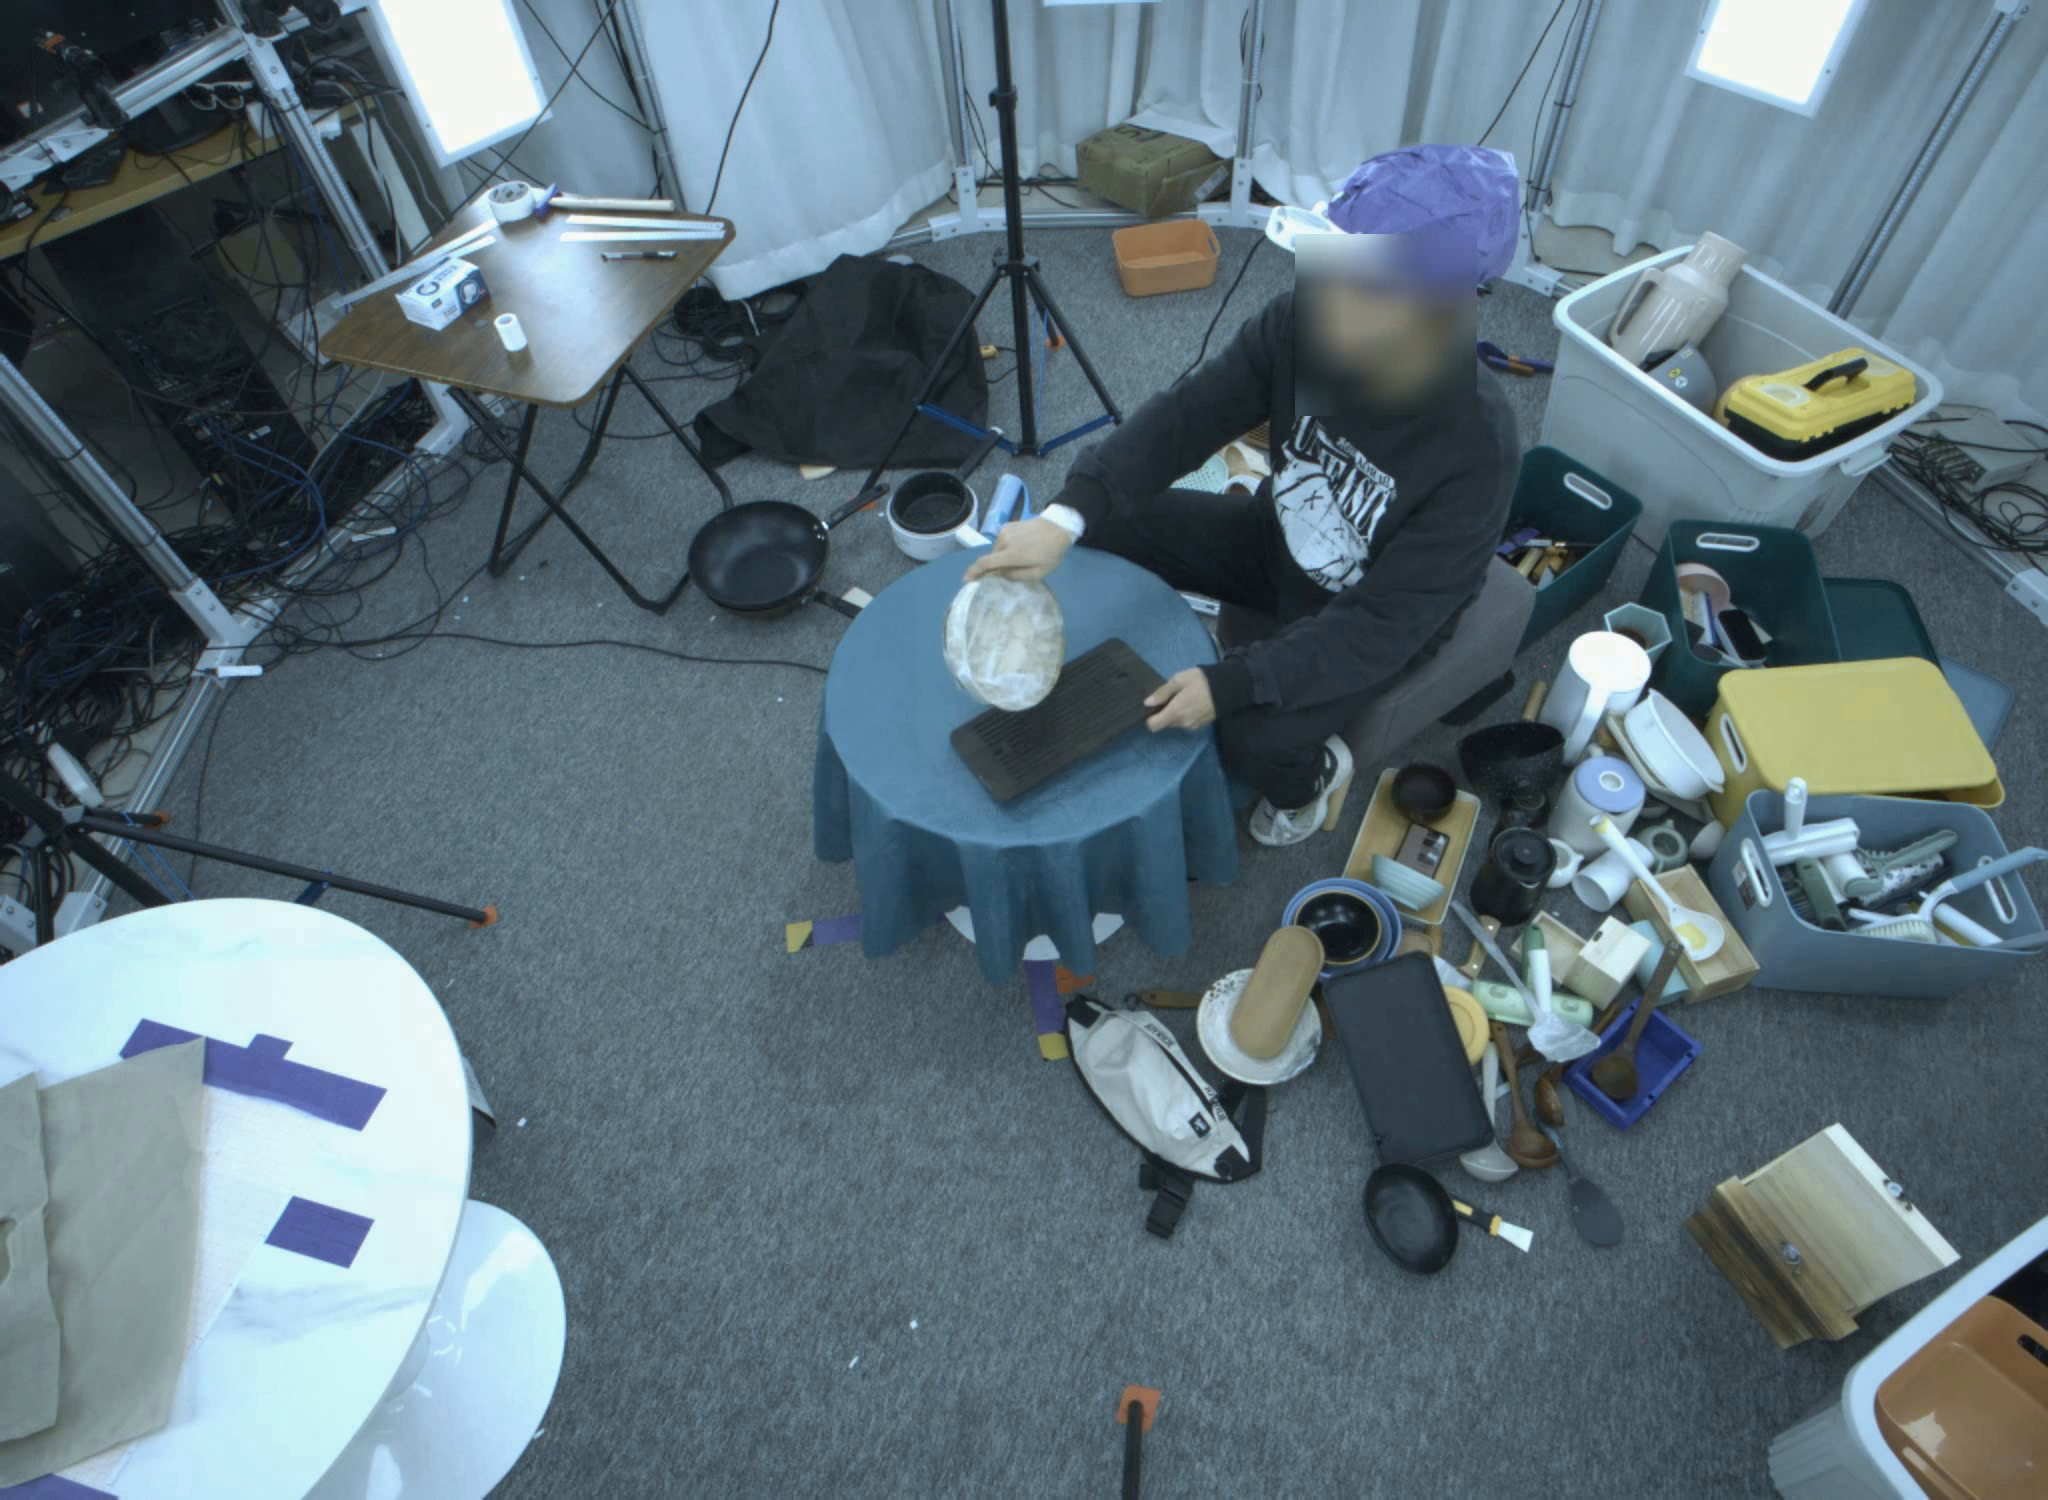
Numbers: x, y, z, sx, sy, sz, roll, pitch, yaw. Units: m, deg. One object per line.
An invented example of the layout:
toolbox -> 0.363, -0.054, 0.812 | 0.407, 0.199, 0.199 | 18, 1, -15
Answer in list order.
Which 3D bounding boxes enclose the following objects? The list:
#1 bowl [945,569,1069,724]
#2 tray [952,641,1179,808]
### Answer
bowl -> -0.039, -0.146, 1.713 | 0.092, 0.219, 0.215 | 4, 50, 40
tray -> 0.059, -0.040, 1.785 | 0.308, 0.019, 0.166 | -31, 50, -13
